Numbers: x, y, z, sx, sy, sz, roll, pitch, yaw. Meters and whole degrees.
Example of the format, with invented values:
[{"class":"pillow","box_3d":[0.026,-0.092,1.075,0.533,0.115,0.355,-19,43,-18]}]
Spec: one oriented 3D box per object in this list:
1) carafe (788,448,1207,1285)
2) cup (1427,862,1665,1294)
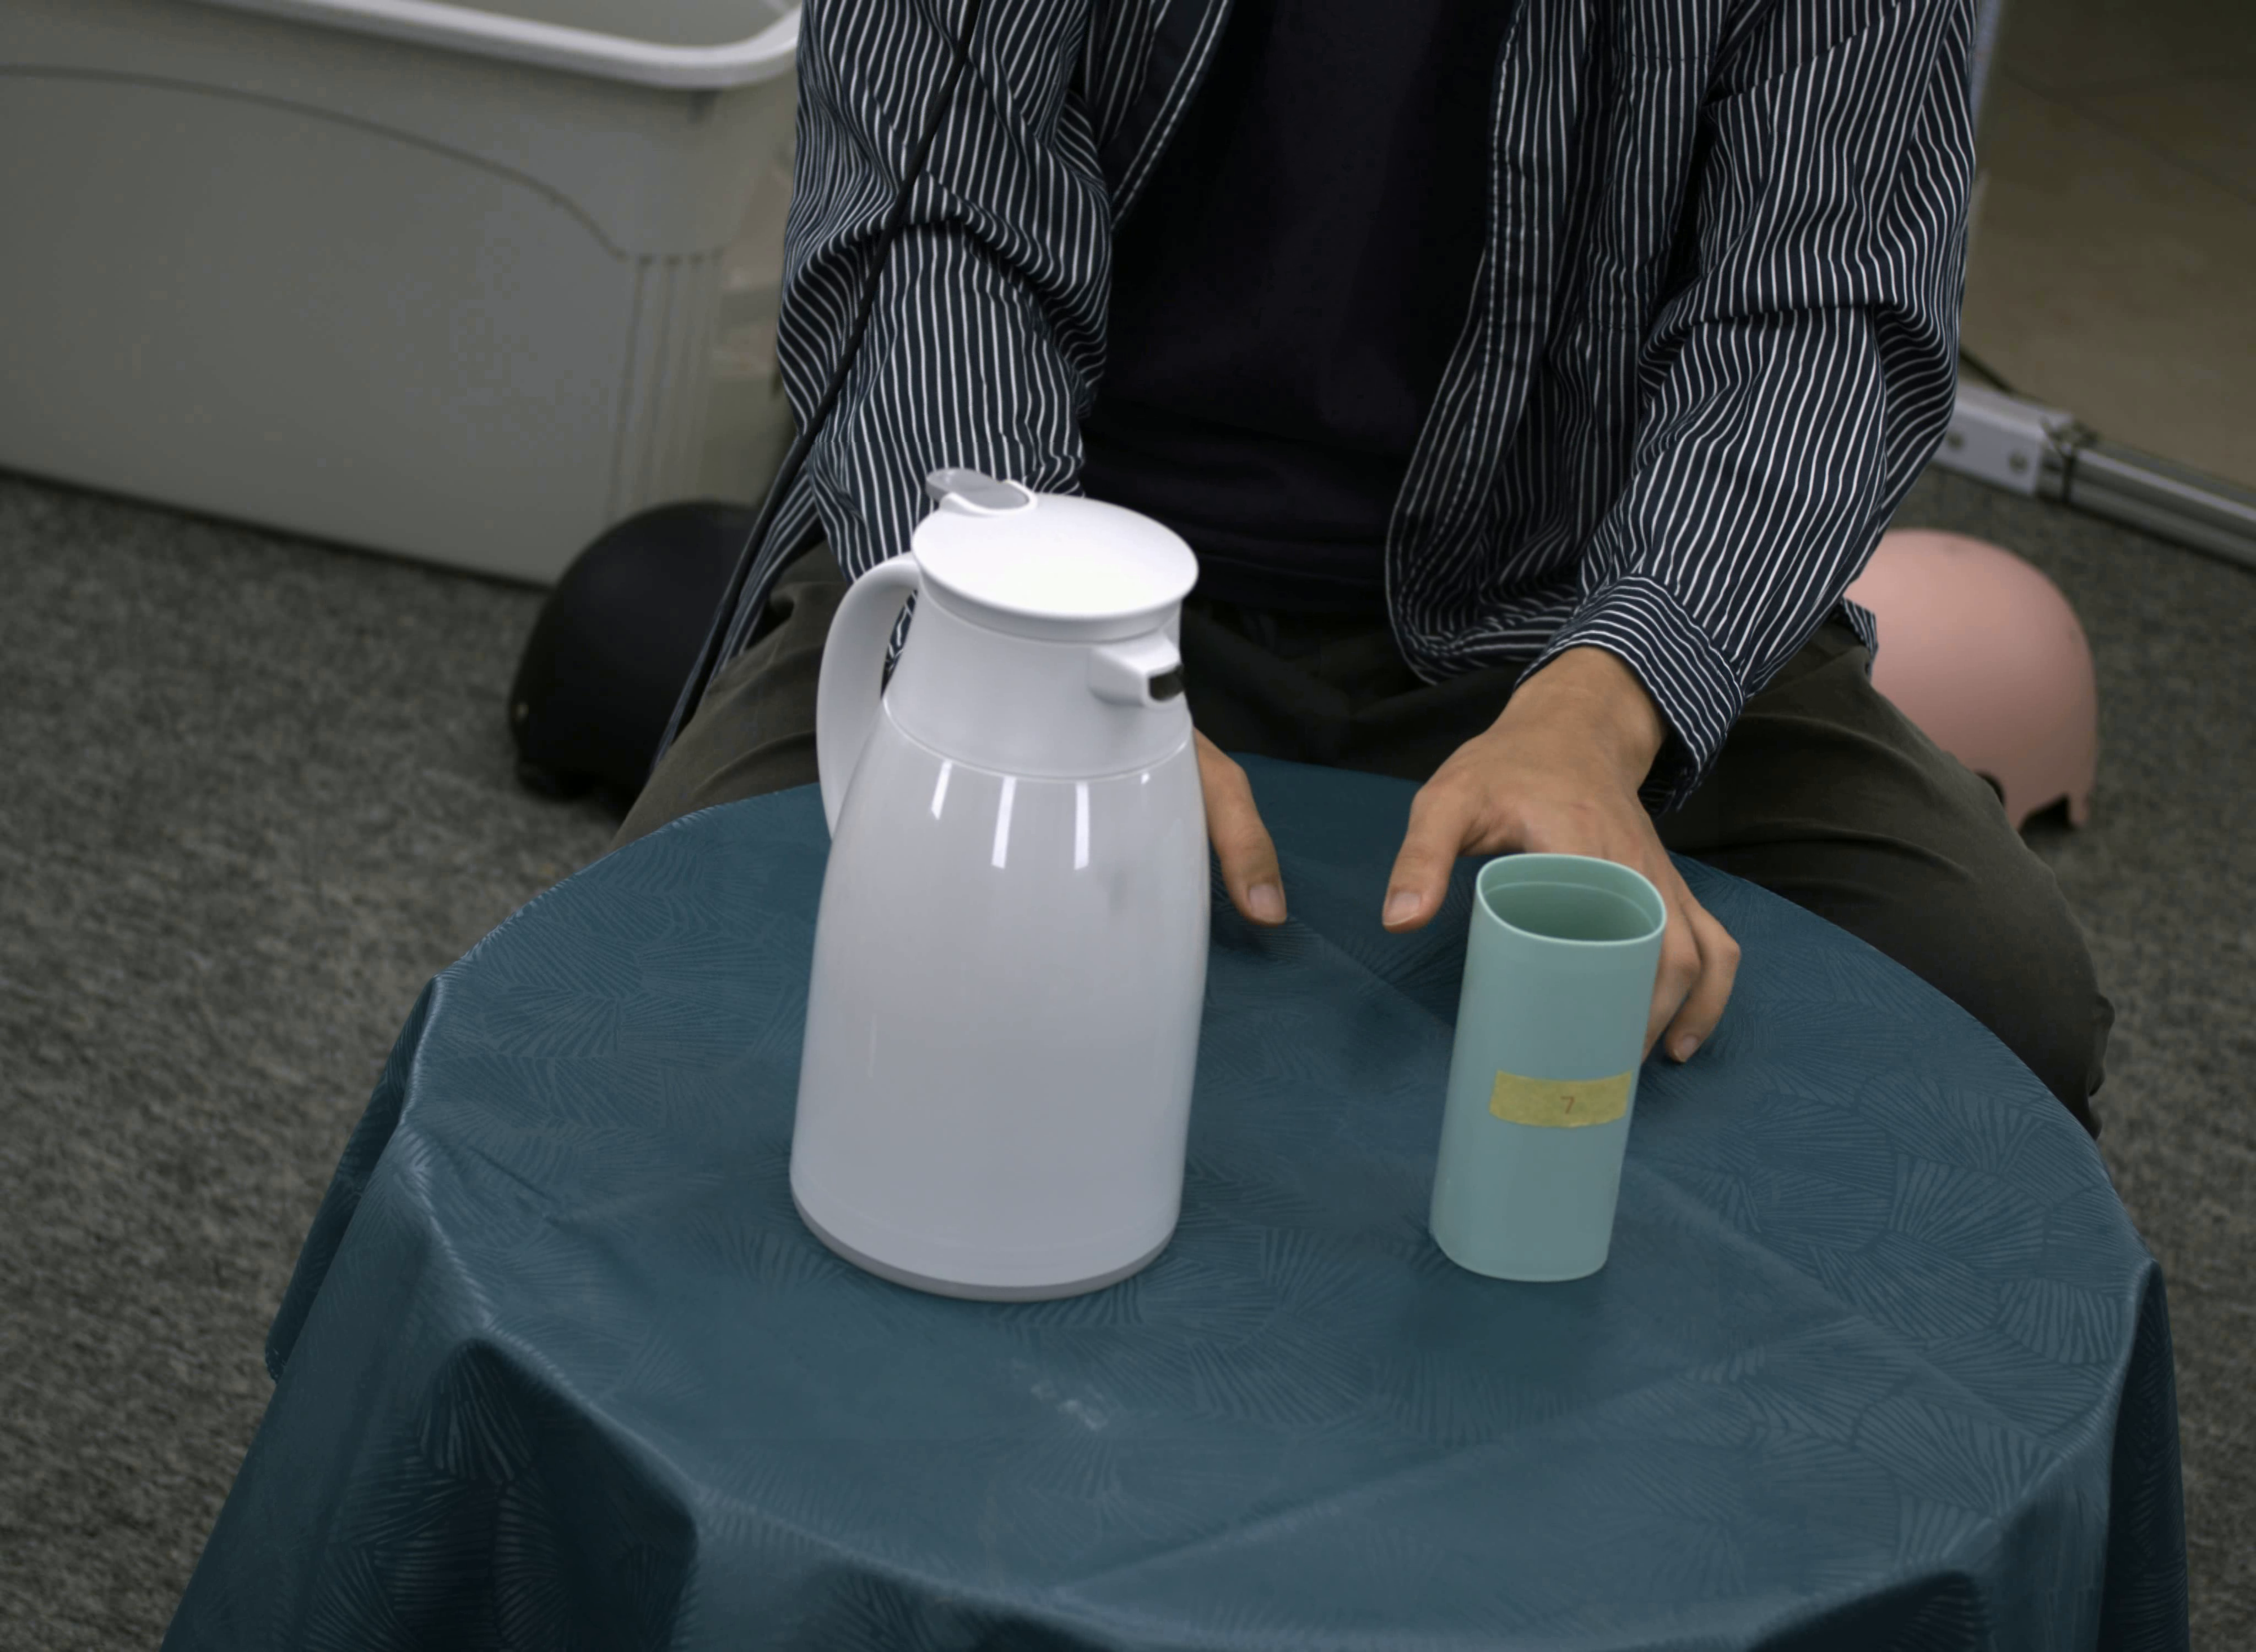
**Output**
[{"class":"carafe","box_3d":[-0.050,0.003,1.743,0.132,0.248,0.169,-17,34,-38]},{"class":"cup","box_3d":[0.138,0.083,1.771,0.066,0.132,0.067,5,27,-3]}]
